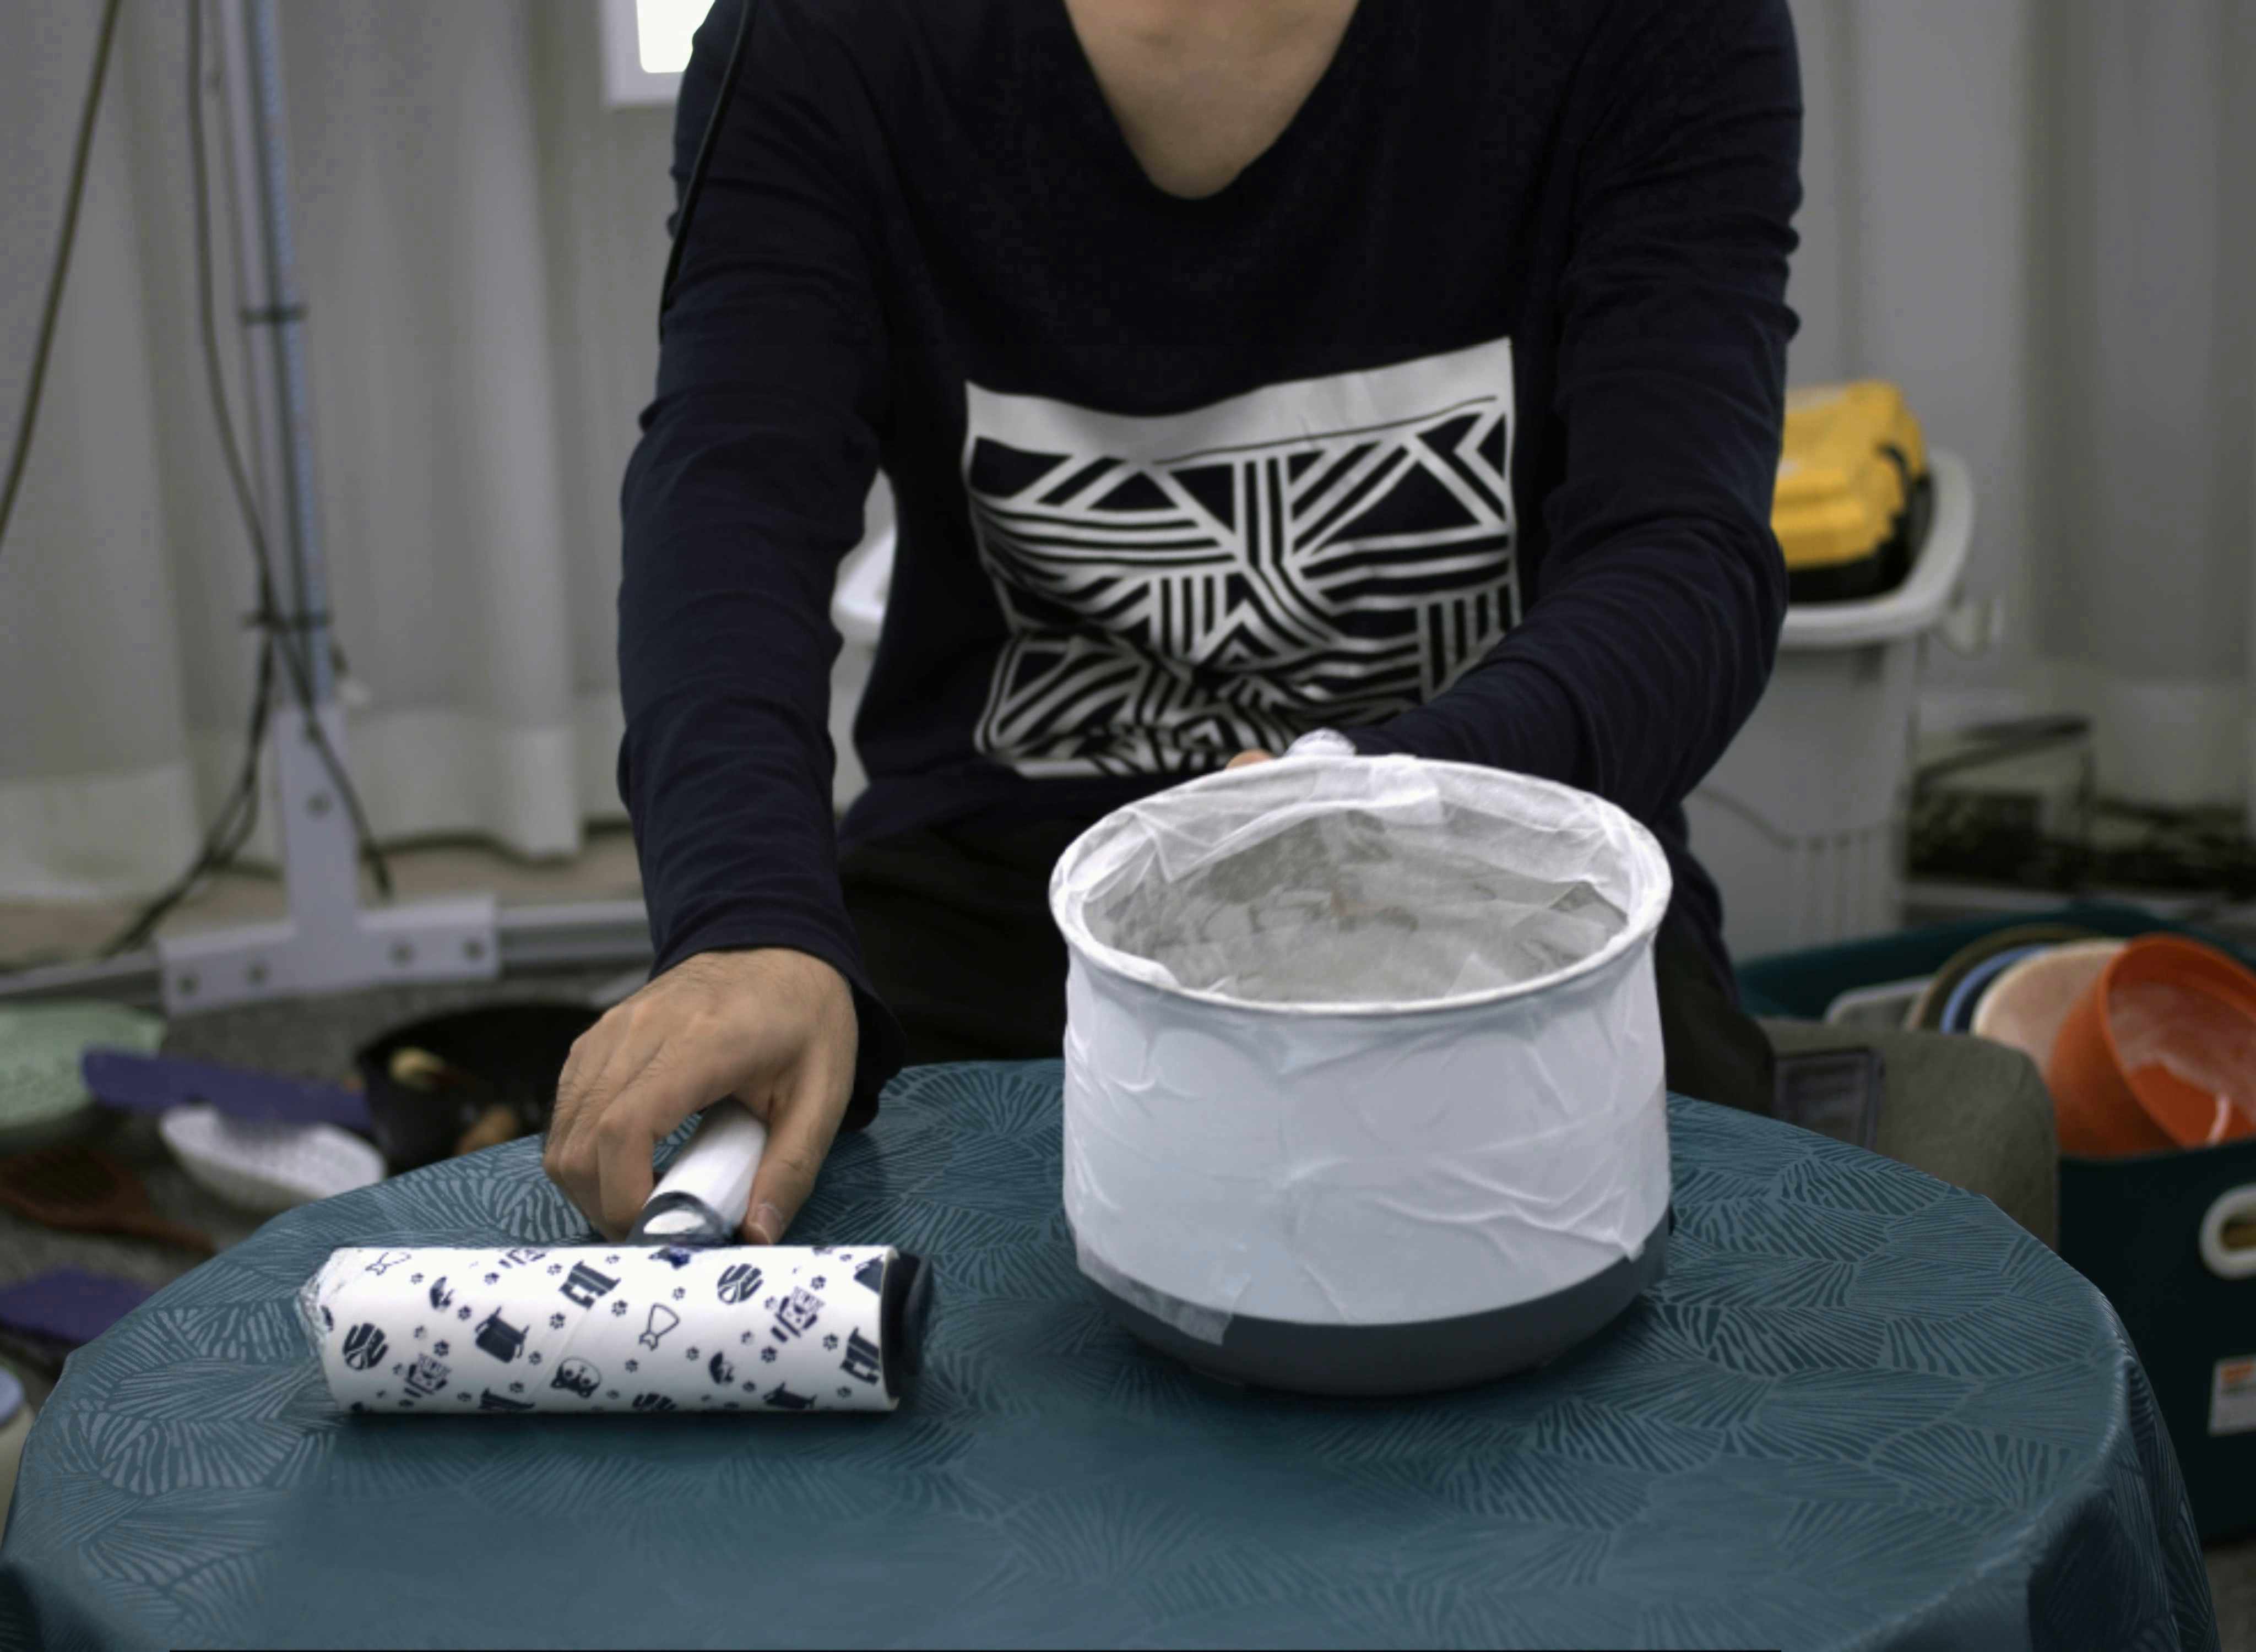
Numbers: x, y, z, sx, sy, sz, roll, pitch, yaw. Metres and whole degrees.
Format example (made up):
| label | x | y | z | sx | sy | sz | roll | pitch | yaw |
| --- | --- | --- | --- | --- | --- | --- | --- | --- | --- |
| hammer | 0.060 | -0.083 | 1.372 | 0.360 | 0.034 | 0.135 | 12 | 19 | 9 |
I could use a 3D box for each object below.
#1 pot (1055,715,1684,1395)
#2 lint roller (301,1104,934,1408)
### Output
| label | x | y | z | sx | sy | sz | roll | pitch | yaw |
| --- | --- | --- | --- | --- | --- | --- | --- | --- | --- |
| pot | 0.064 | 0.059 | 1.594 | 0.178 | 0.135 | 0.236 | -1 | 24 | -6 |
| lint roller | -0.134 | 0.118 | 1.644 | 0.176 | 0.050 | 0.248 | -2 | 13 | 7 |
